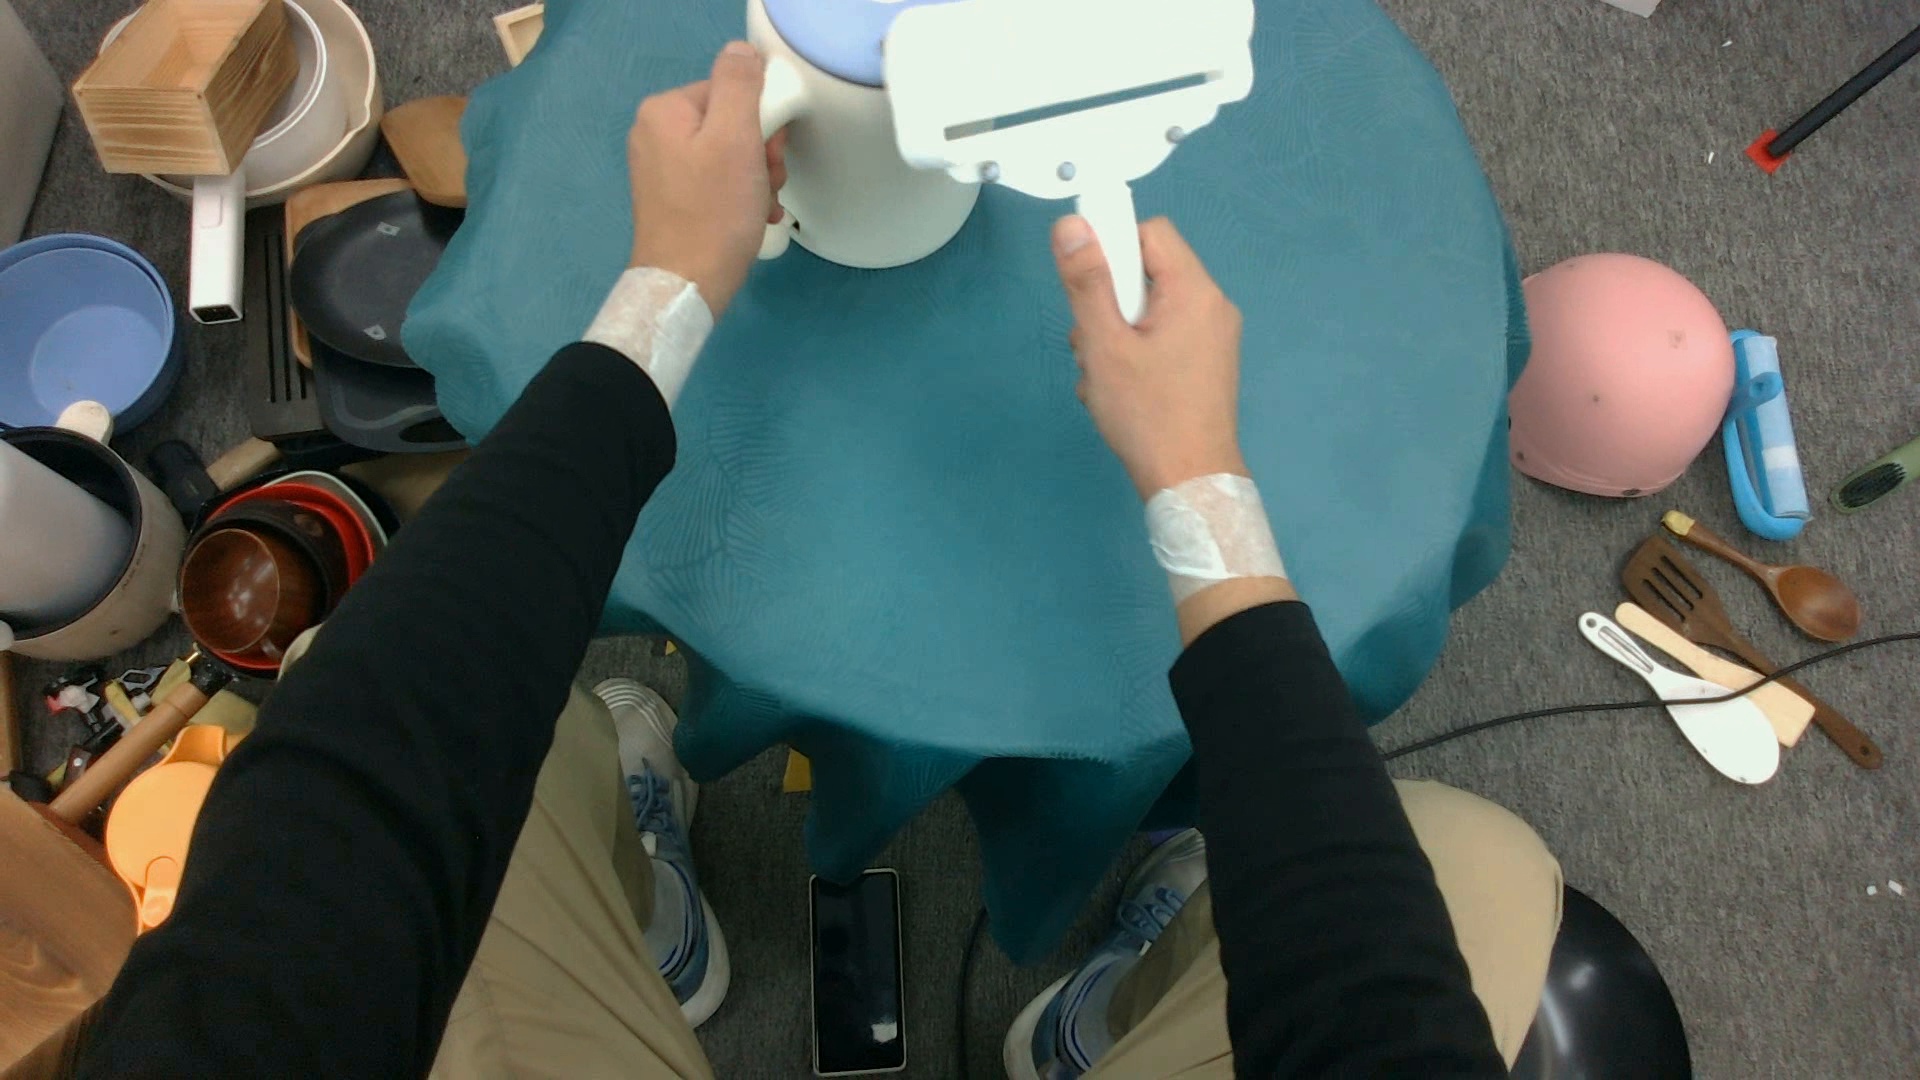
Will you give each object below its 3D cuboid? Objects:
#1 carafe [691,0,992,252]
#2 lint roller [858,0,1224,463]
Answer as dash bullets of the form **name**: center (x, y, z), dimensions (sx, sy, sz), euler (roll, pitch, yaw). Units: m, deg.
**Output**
- **carafe**: center (-0.072, -0.231, 0.720), dimensions (0.132, 0.182, 0.191), euler (41, 74, 7)
- **lint roller**: center (0.065, -0.143, 0.637), dimensions (0.203, 0.048, 0.225), euler (-26, 106, -37)
